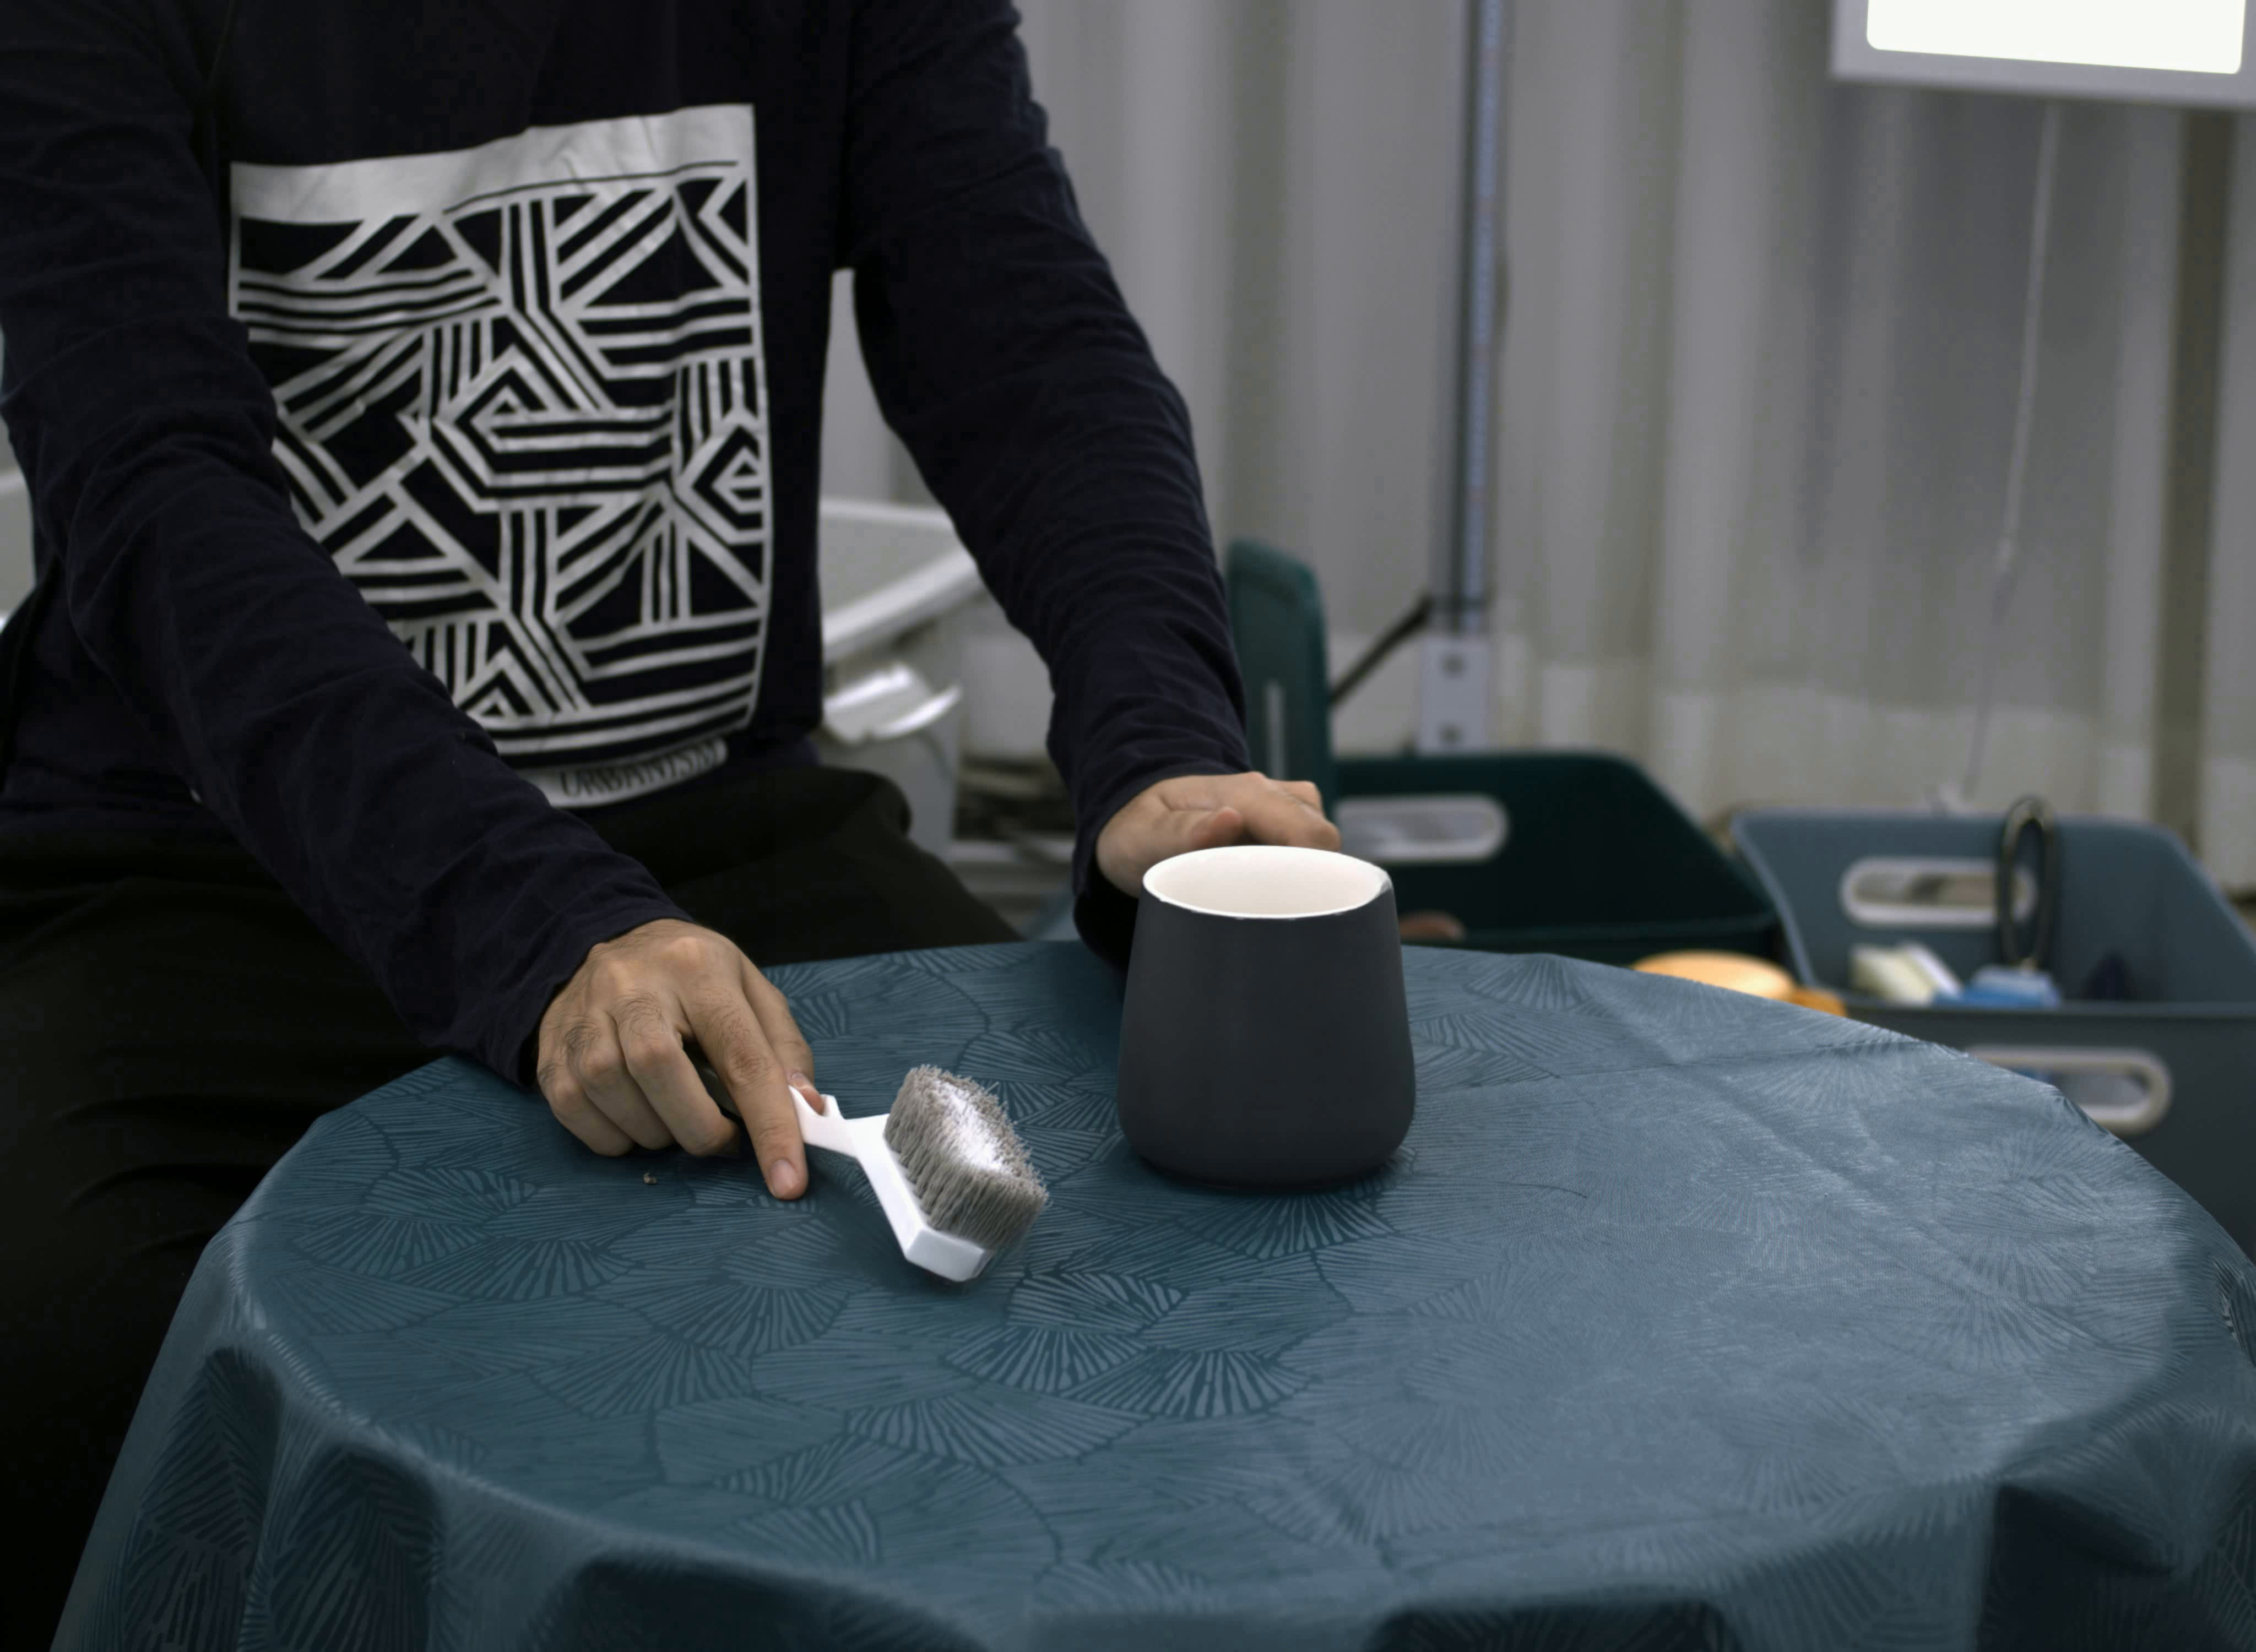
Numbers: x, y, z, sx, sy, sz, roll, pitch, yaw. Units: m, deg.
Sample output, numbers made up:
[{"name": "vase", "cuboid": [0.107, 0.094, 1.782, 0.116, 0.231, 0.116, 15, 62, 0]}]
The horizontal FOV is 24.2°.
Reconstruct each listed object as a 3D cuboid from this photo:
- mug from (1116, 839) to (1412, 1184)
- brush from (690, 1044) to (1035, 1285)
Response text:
[{"name": "mug", "cuboid": [0.041, 0.054, 1.662, 0.093, 0.090, 0.122, -2, 17, -13]}, {"name": "brush", "cuboid": [-0.086, 0.085, 1.630, 0.034, 0.050, 0.241, 14, 8, -25]}]
